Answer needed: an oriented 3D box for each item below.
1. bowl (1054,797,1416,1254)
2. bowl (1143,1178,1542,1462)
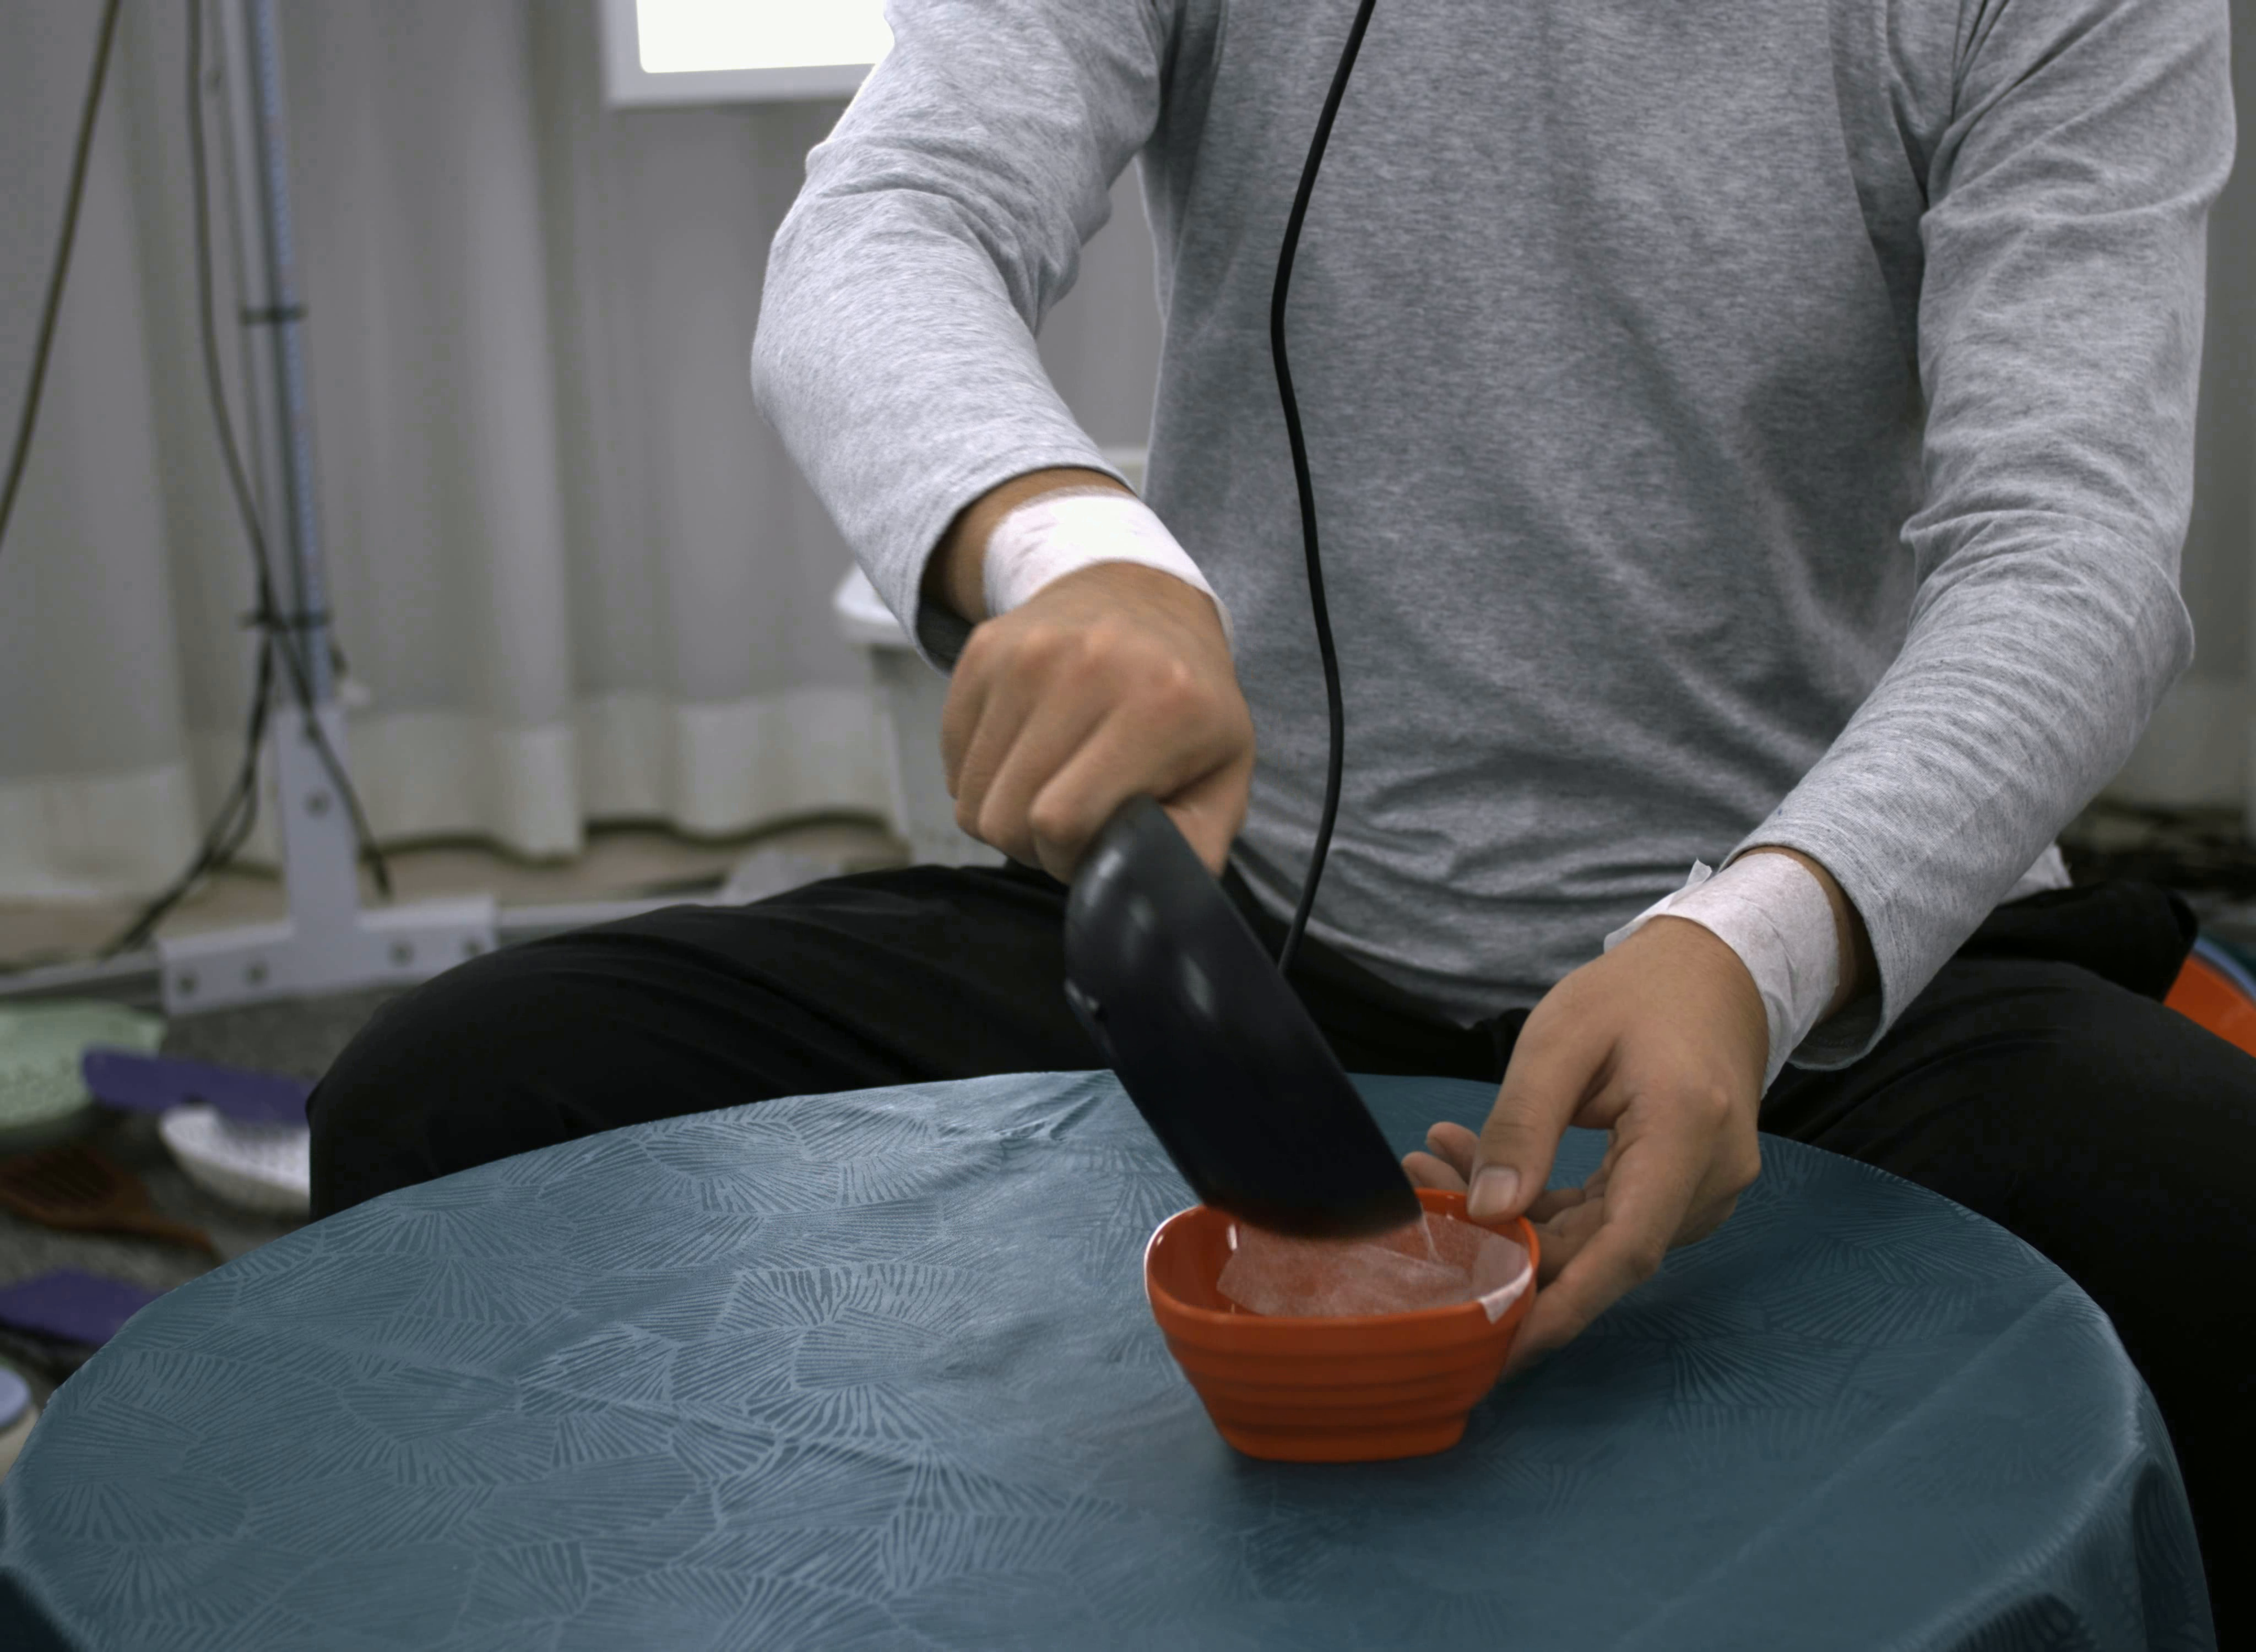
[{"bbox_3d":[0.020,0.063,1.478,0.050,0.139,0.141,-33,21,-8],"label":"bowl"},{"bbox_3d":[0.061,0.139,1.511,0.118,0.051,0.120,-4,16,1],"label":"bowl"}]
